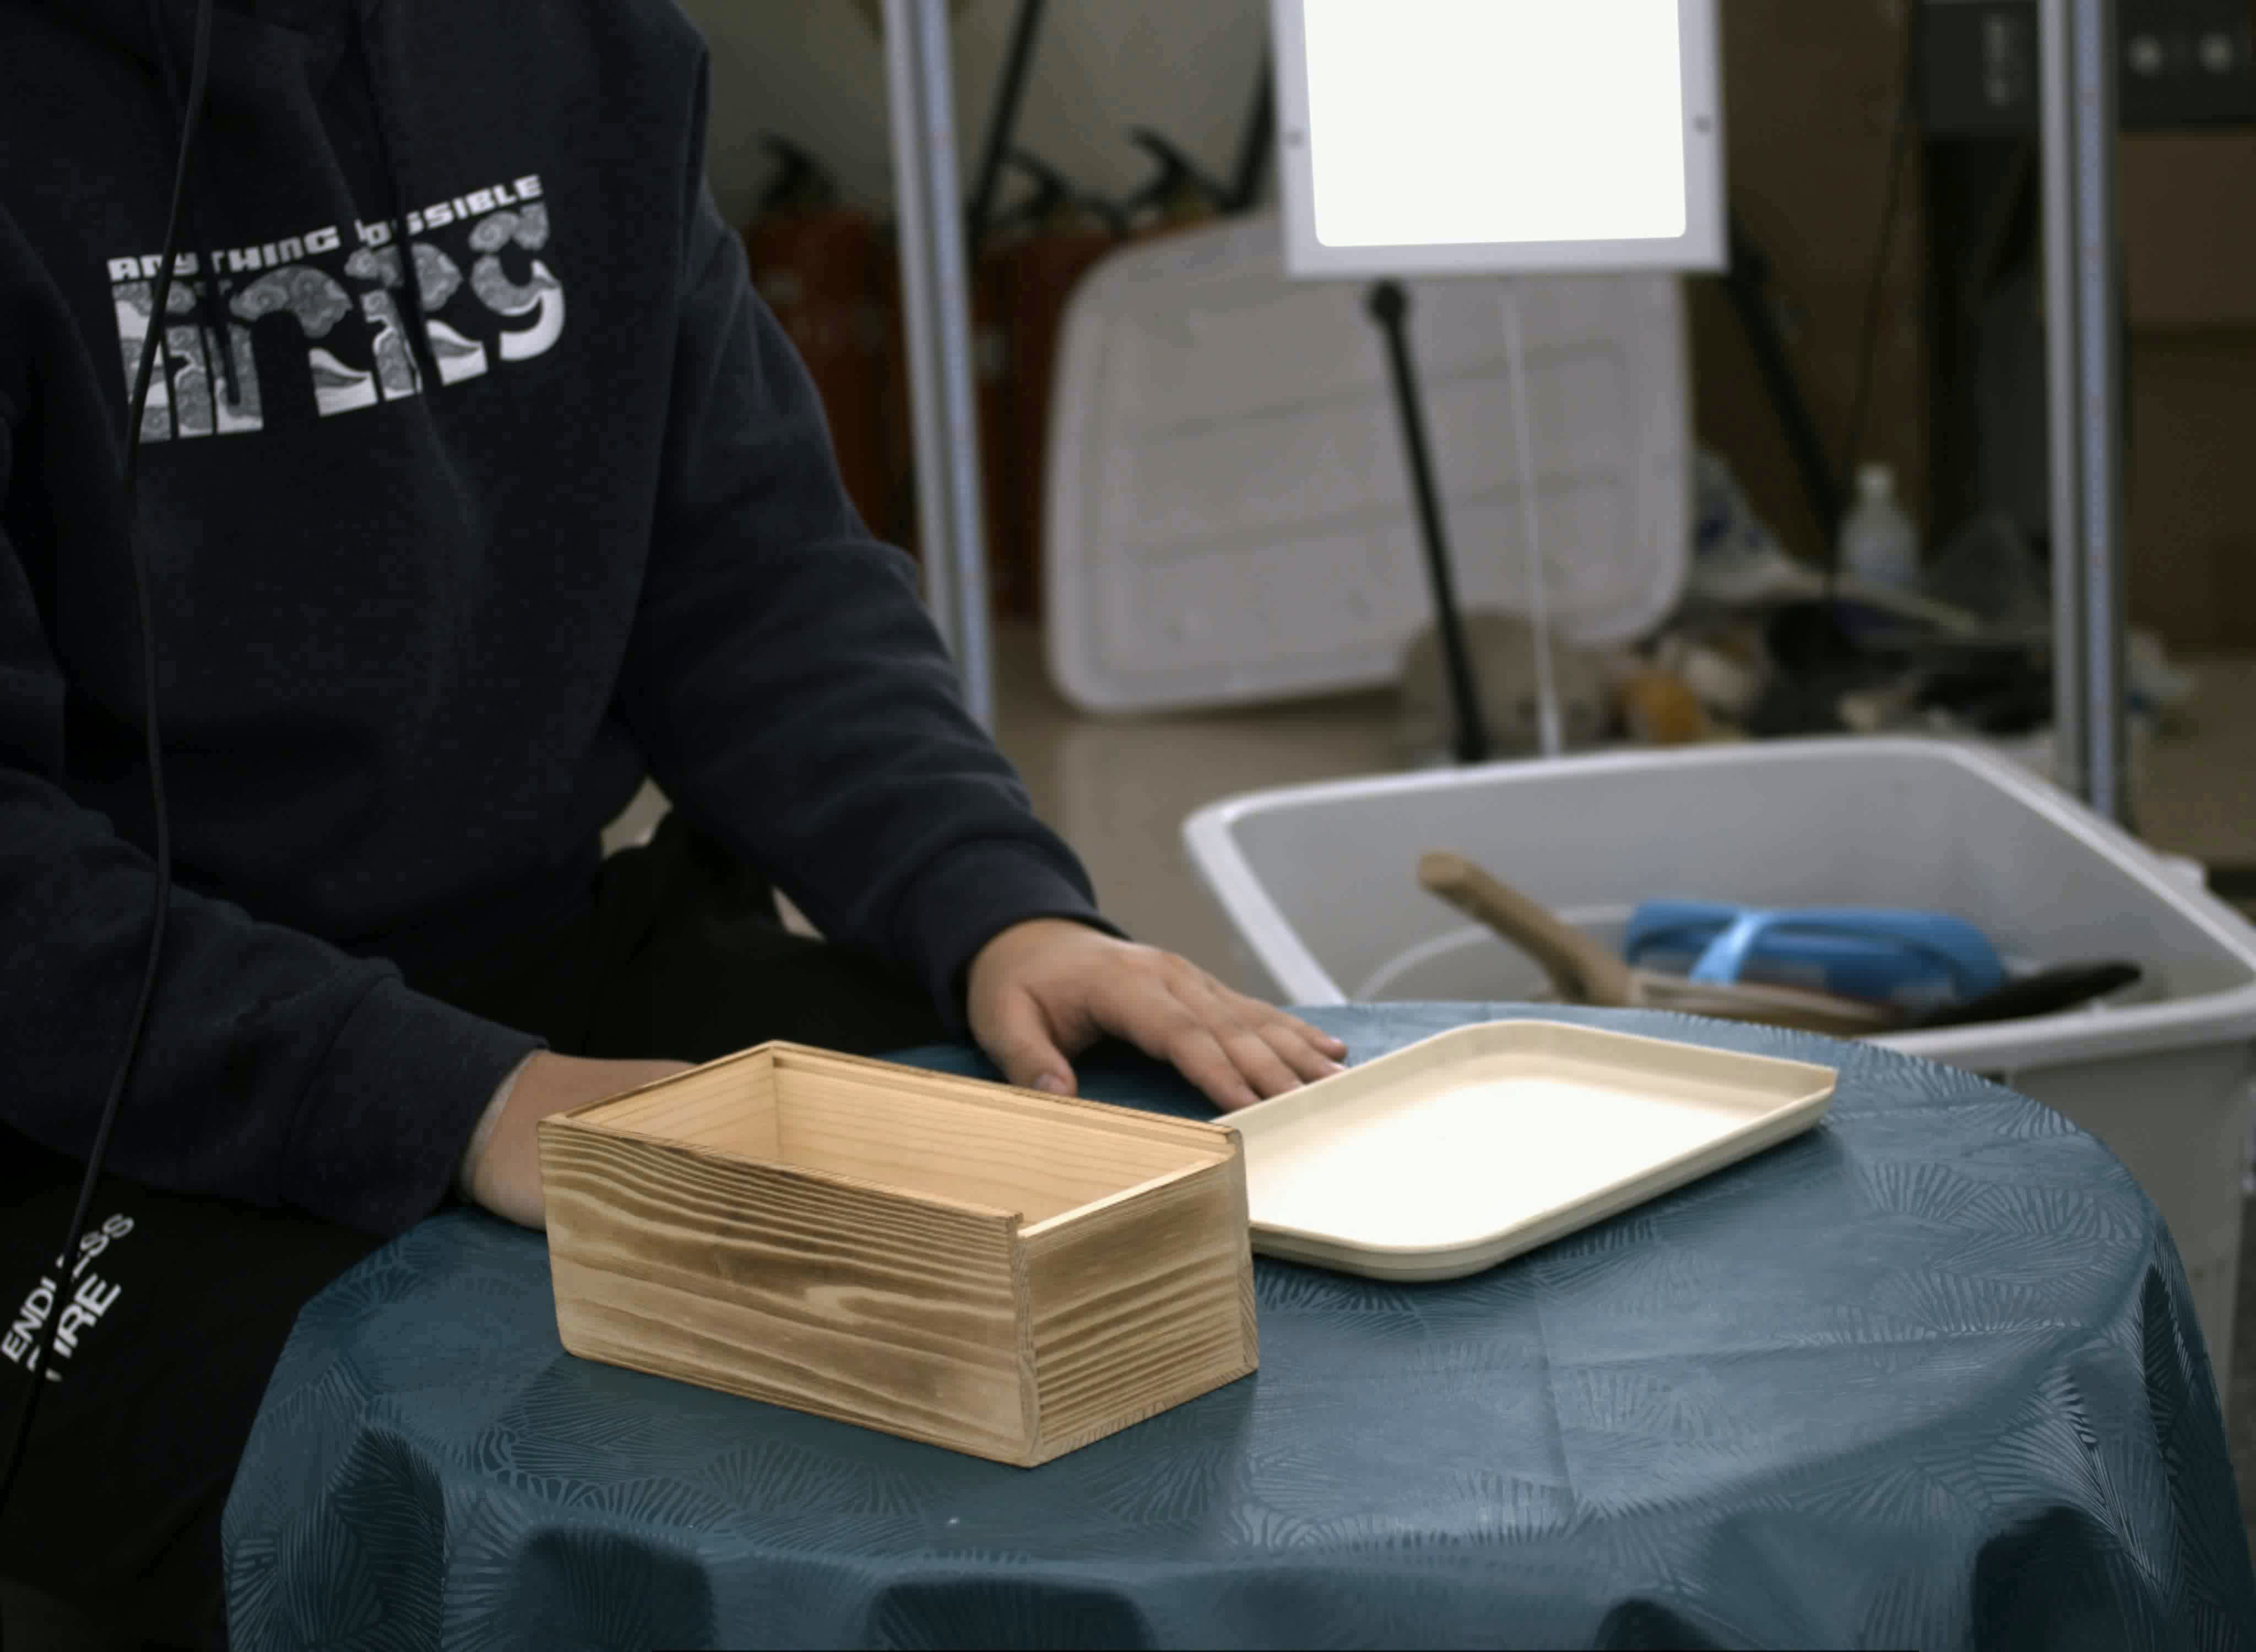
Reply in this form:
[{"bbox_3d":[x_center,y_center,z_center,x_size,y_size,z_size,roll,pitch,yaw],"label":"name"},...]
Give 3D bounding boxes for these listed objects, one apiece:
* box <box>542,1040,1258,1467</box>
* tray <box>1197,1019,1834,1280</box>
[{"bbox_3d":[-0.074,0.131,1.736,0.216,0.080,0.105,8,18,43],"label":"box"},{"bbox_3d":[0.118,0.110,1.888,0.175,0.017,0.233,7,18,44],"label":"tray"}]
